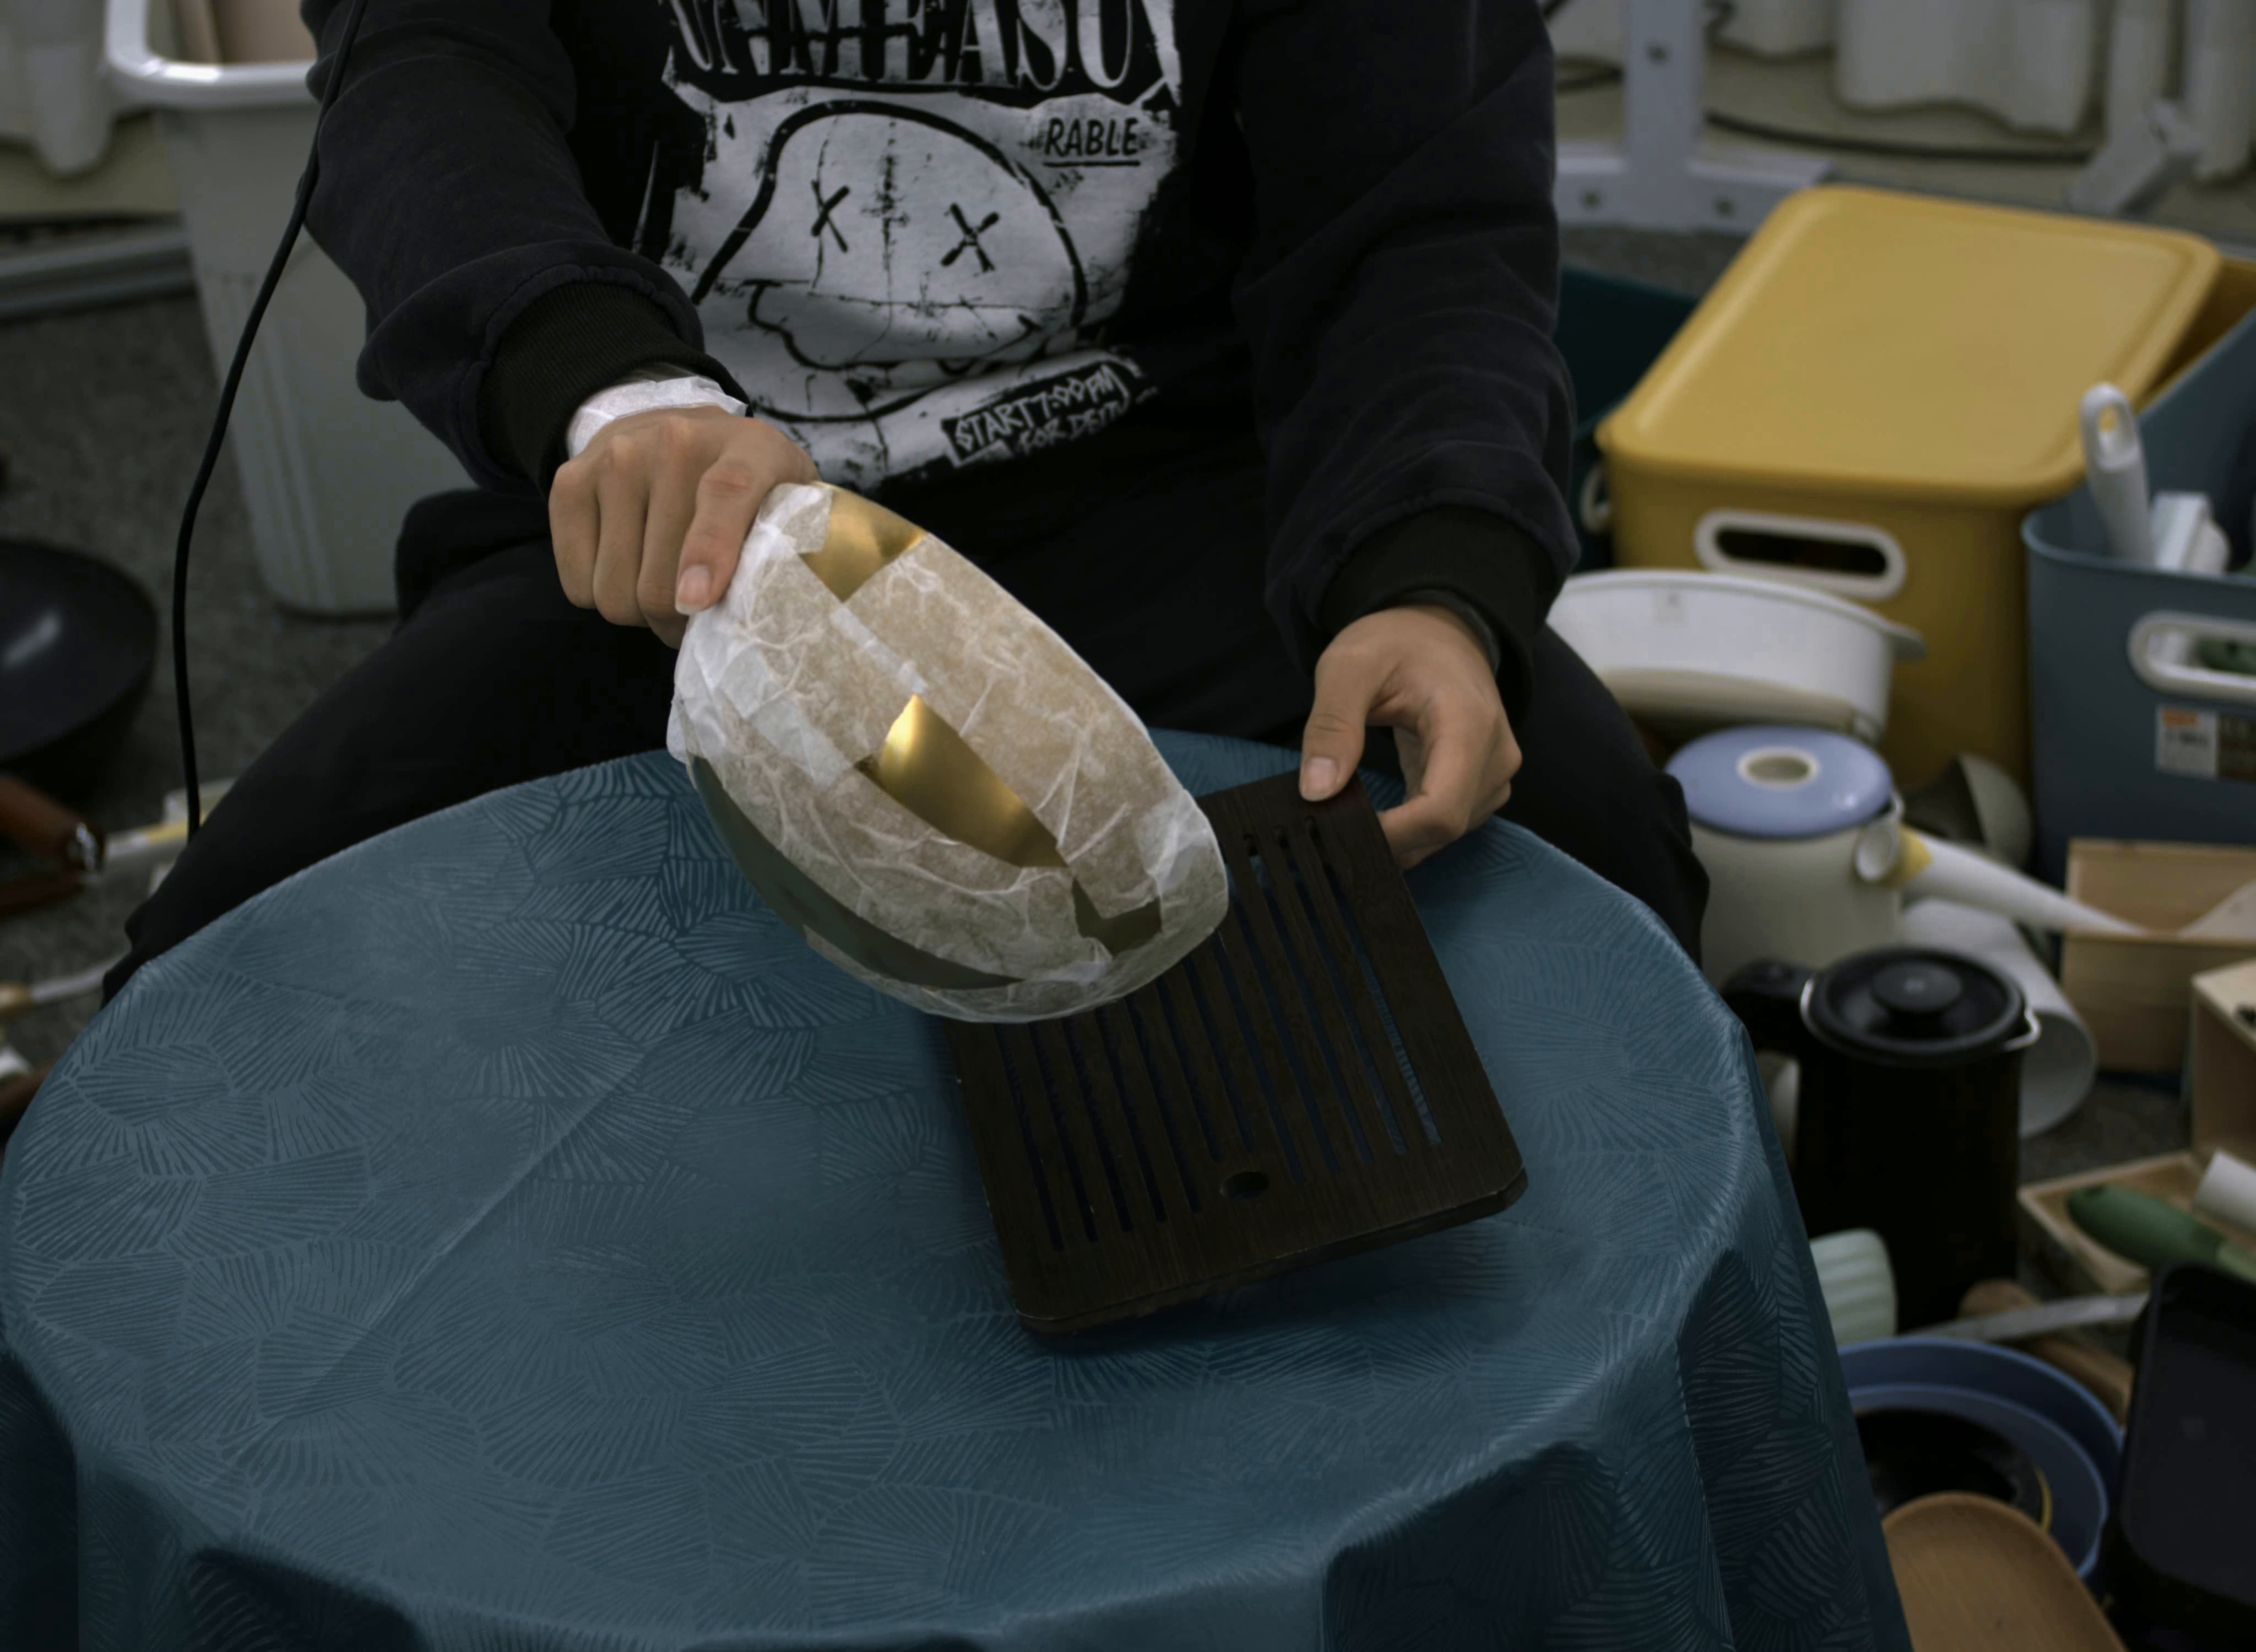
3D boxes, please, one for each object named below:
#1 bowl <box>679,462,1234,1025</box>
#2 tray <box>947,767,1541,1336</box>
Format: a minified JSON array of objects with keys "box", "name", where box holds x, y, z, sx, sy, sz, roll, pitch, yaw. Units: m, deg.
[{"box":[-0.072,-0.006,1.775,0.095,0.212,0.214,-46,44,-18],"name":"bowl"},{"box":[0.028,0.073,1.905,0.169,0.018,0.310,-15,28,-2],"name":"tray"}]
